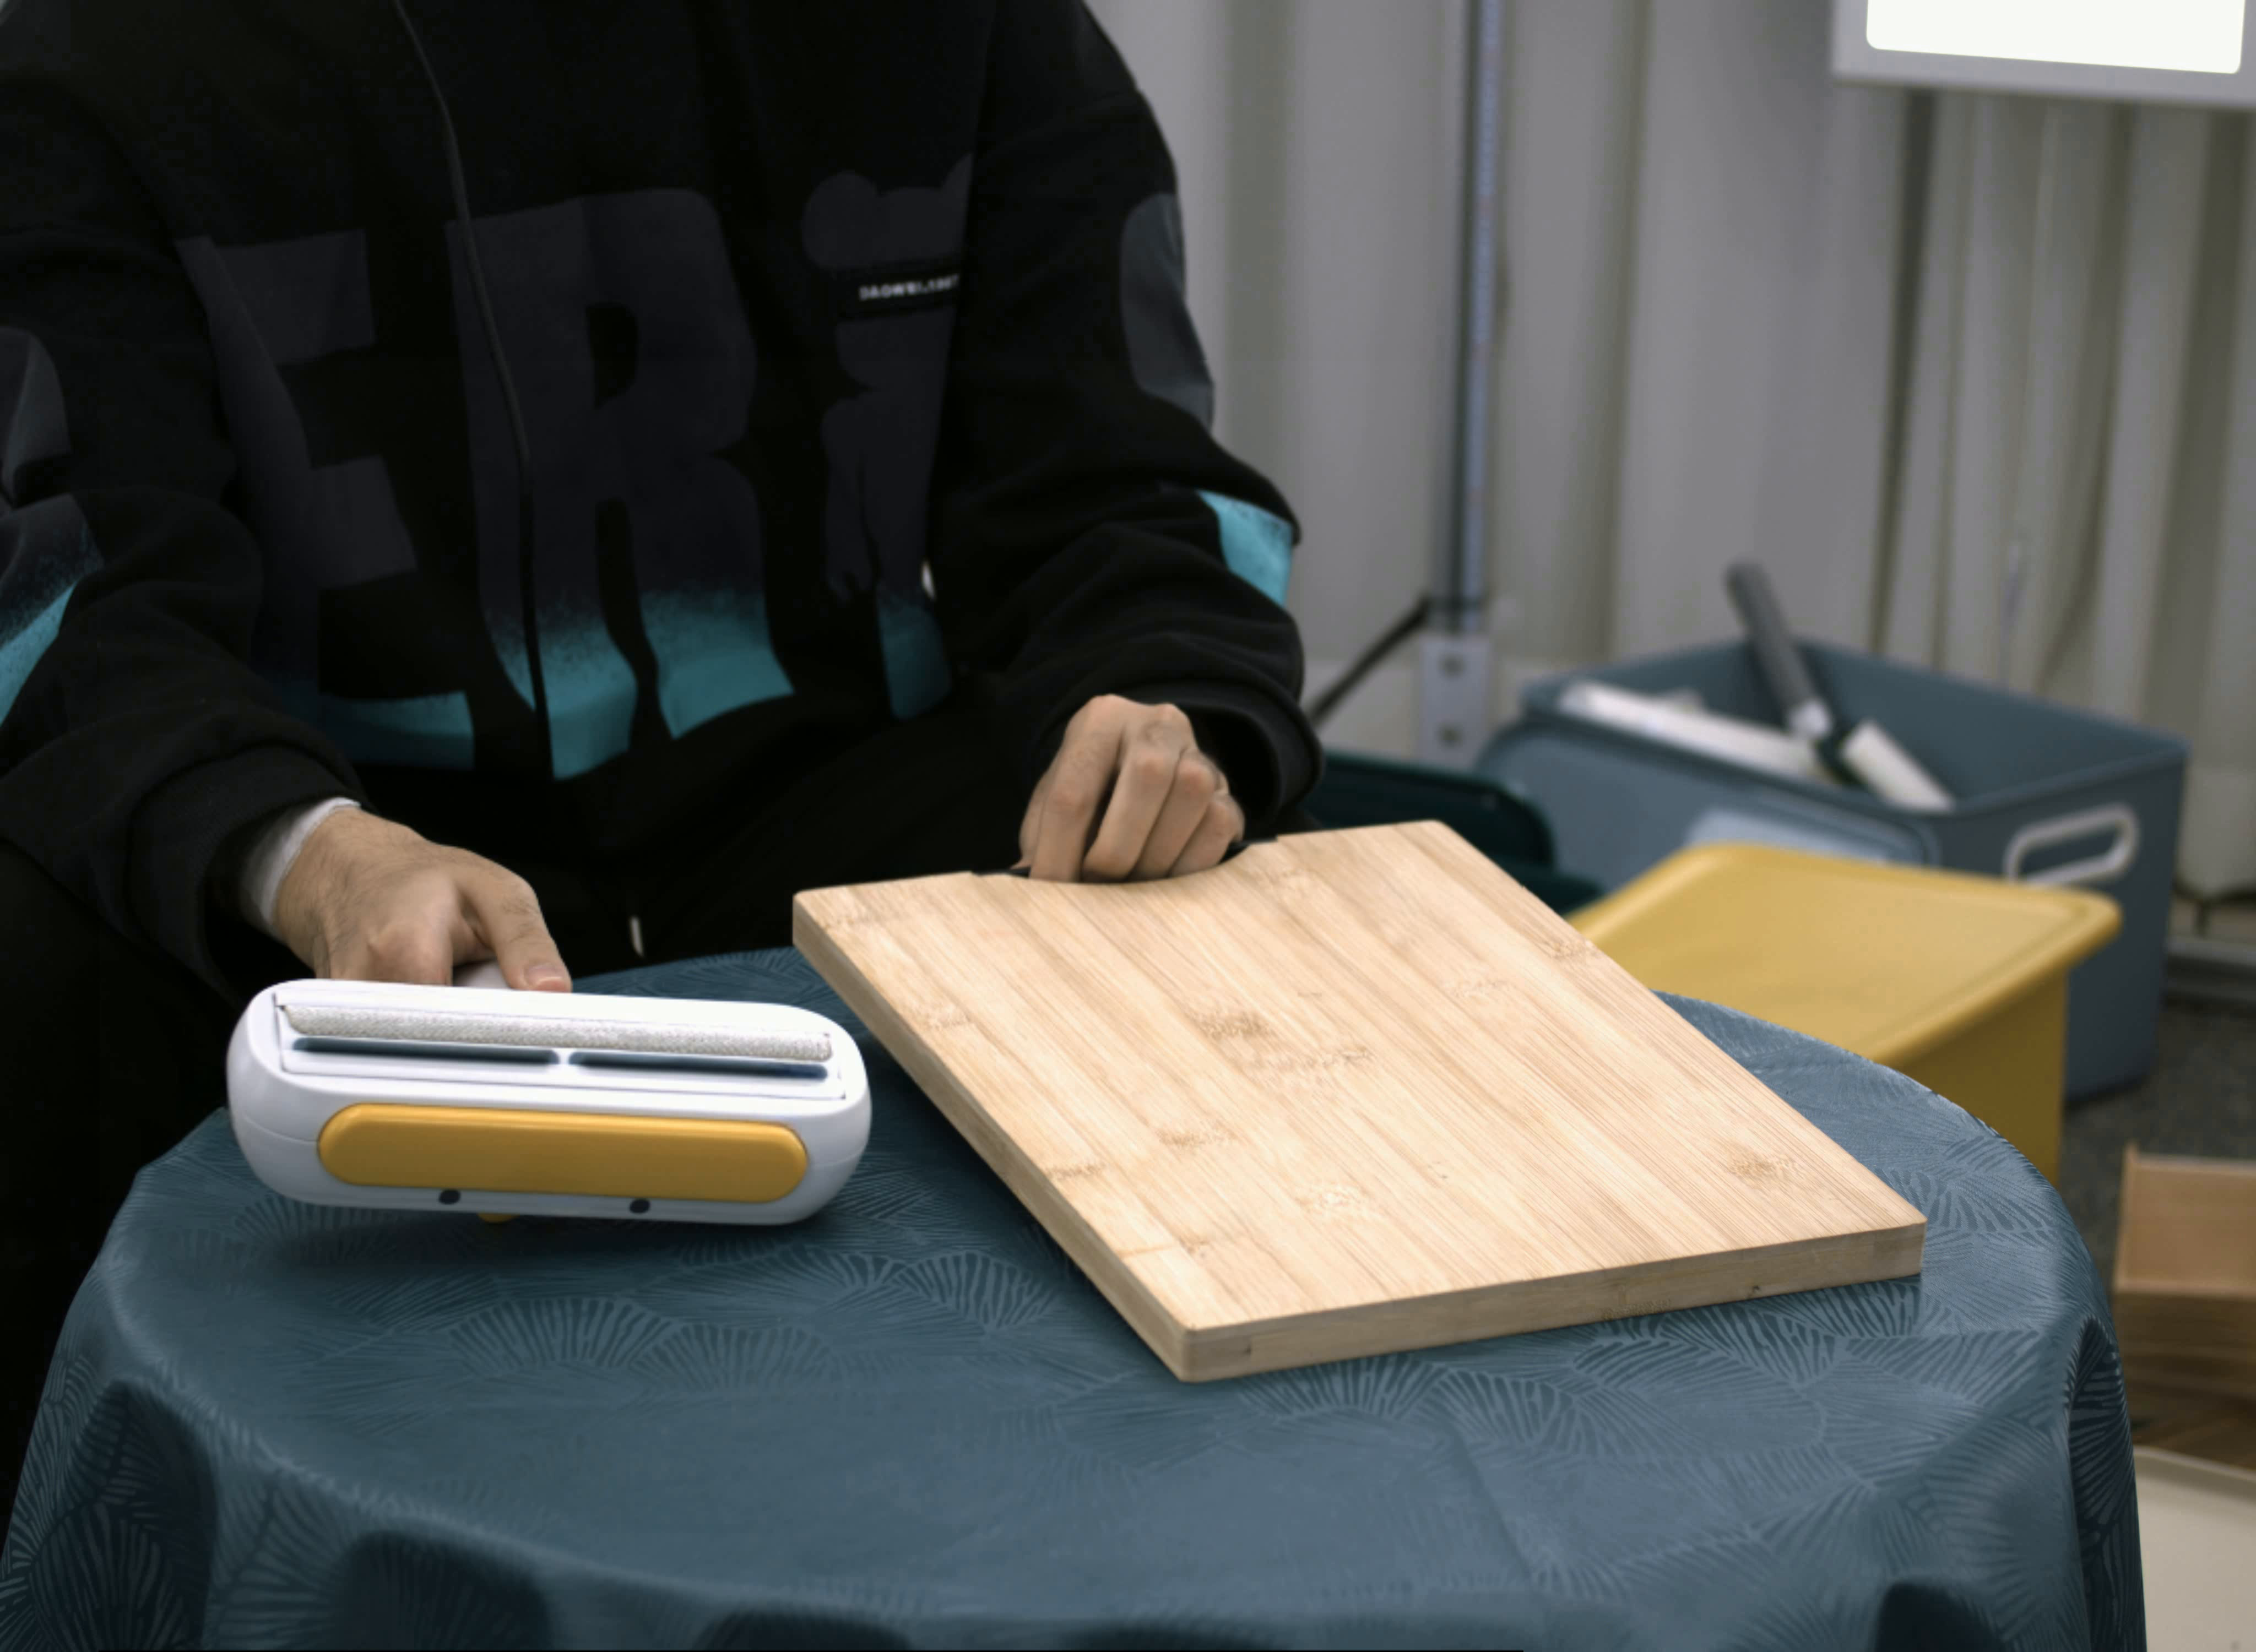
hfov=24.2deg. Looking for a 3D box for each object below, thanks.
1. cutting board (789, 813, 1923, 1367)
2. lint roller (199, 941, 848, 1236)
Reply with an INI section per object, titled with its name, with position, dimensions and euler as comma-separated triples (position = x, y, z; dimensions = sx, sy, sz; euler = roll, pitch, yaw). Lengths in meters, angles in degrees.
[cutting board]
position = 0.060, 0.075, 1.656
dimensions = 0.251, 0.024, 0.344
euler = -6, 23, -23
[lint roller]
position = -0.189, 0.066, 1.621
dimensions = 0.193, 0.075, 0.190
euler = 2, 23, -12
